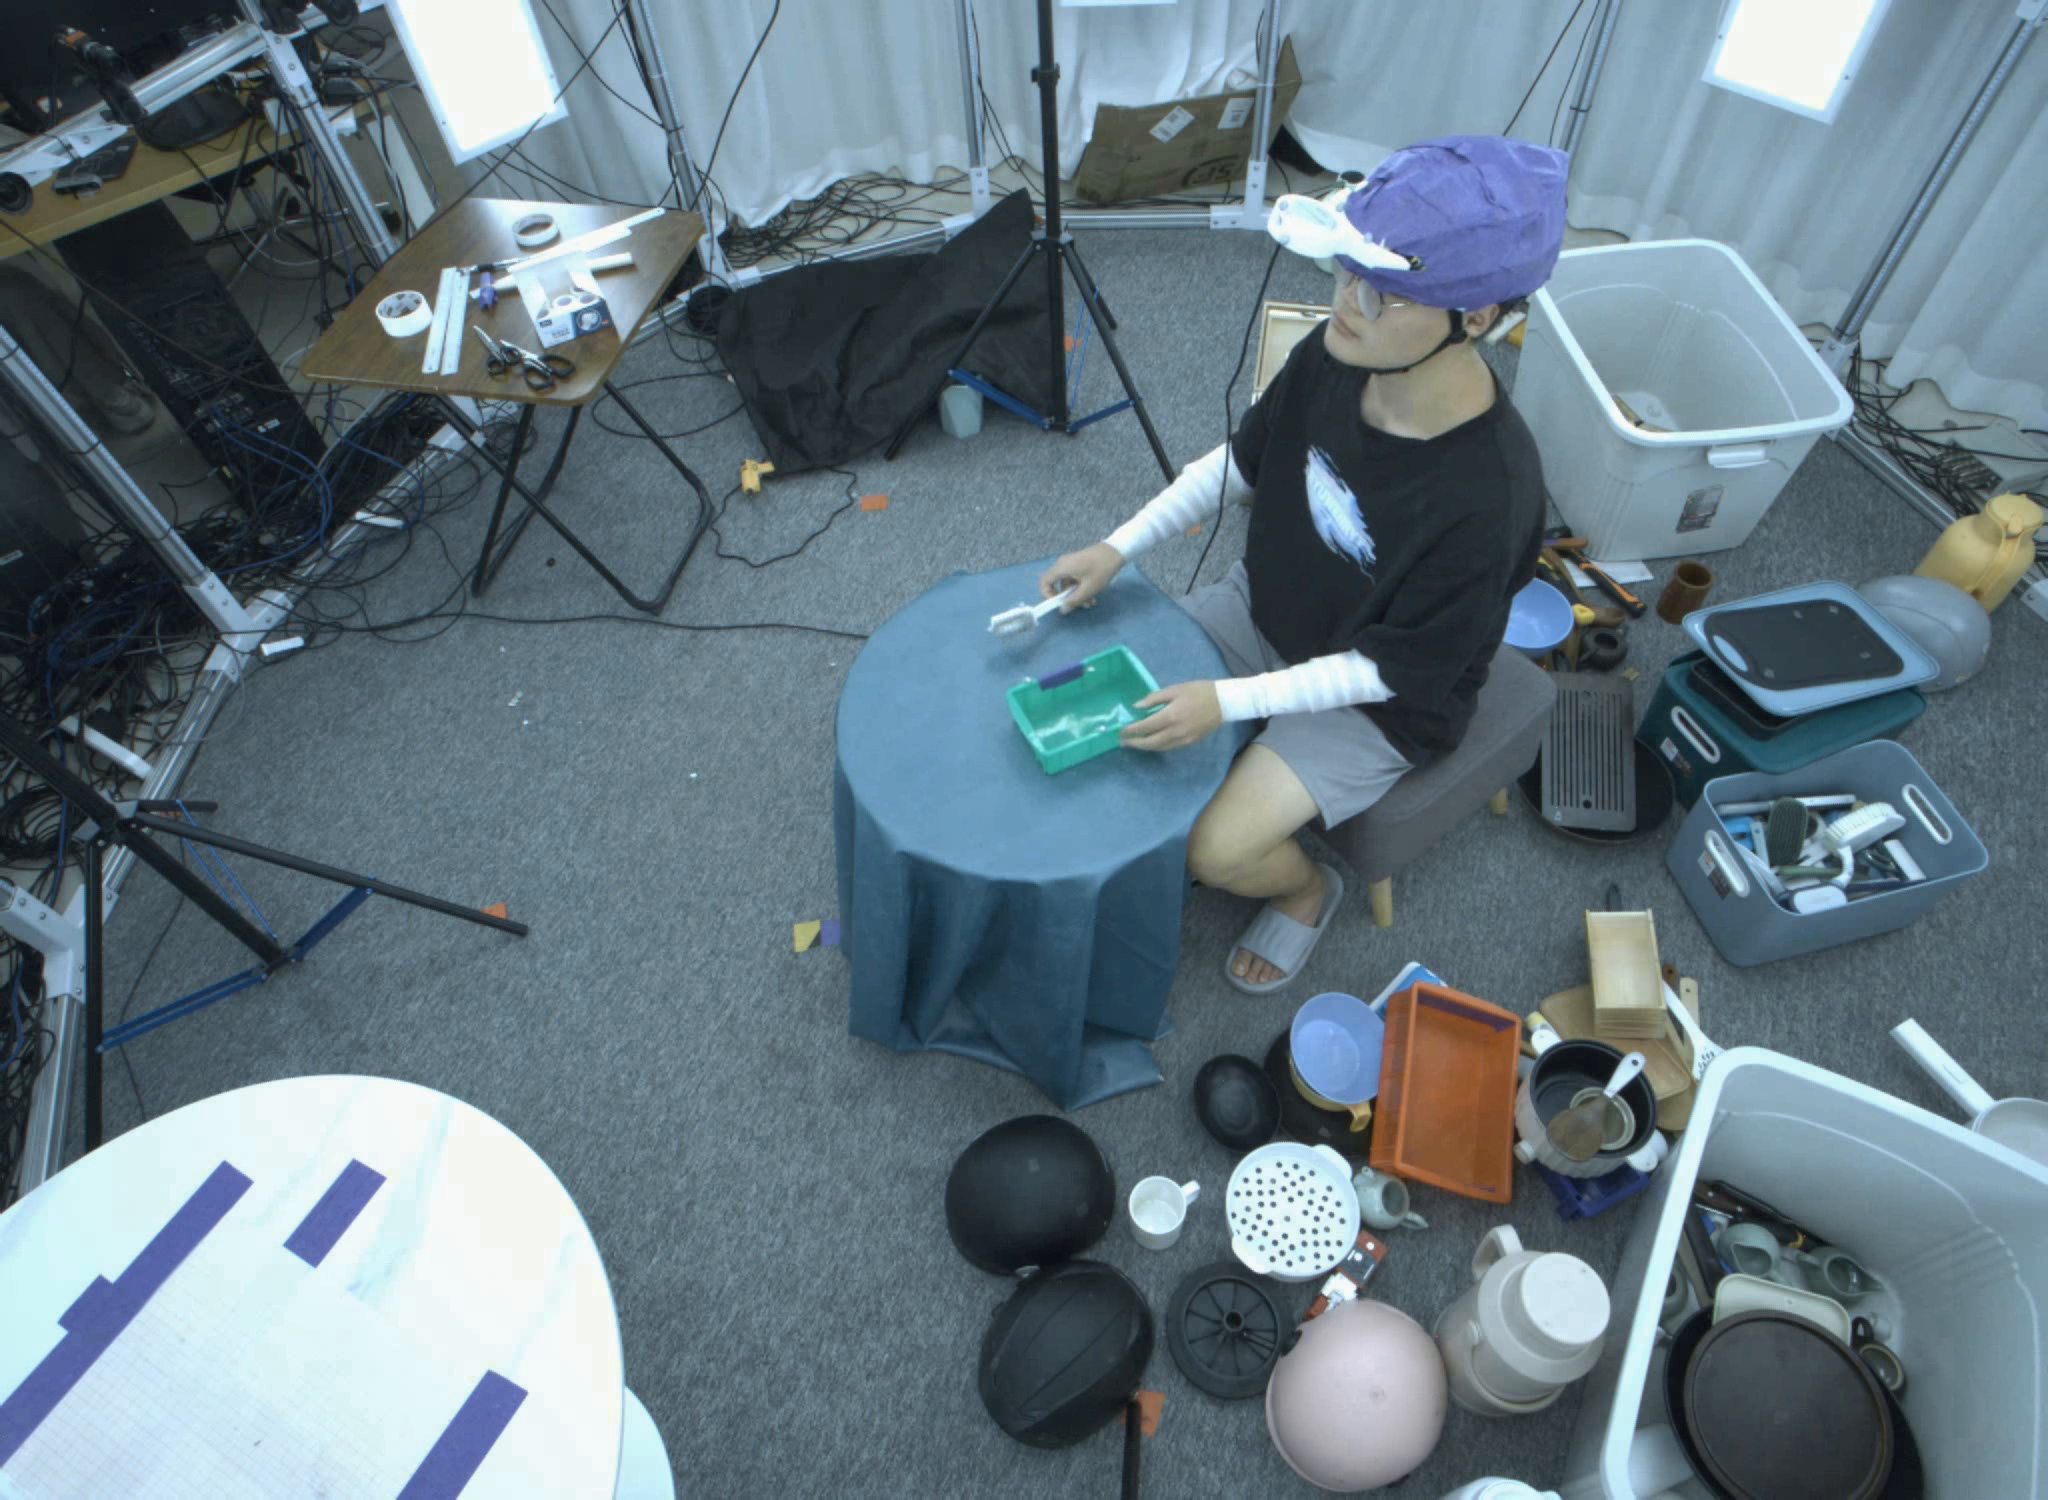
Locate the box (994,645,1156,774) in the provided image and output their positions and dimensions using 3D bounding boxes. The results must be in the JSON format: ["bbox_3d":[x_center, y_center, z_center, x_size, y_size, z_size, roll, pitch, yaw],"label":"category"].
[{"bbox_3d":[0.073,-0.056,1.778,0.212,0.066,0.136,-24,55,-15],"label":"box"}]

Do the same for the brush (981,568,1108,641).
[{"bbox_3d":[0.039,-0.227,1.889,0.246,0.035,0.049,-26,30,-23],"label":"brush"}]
